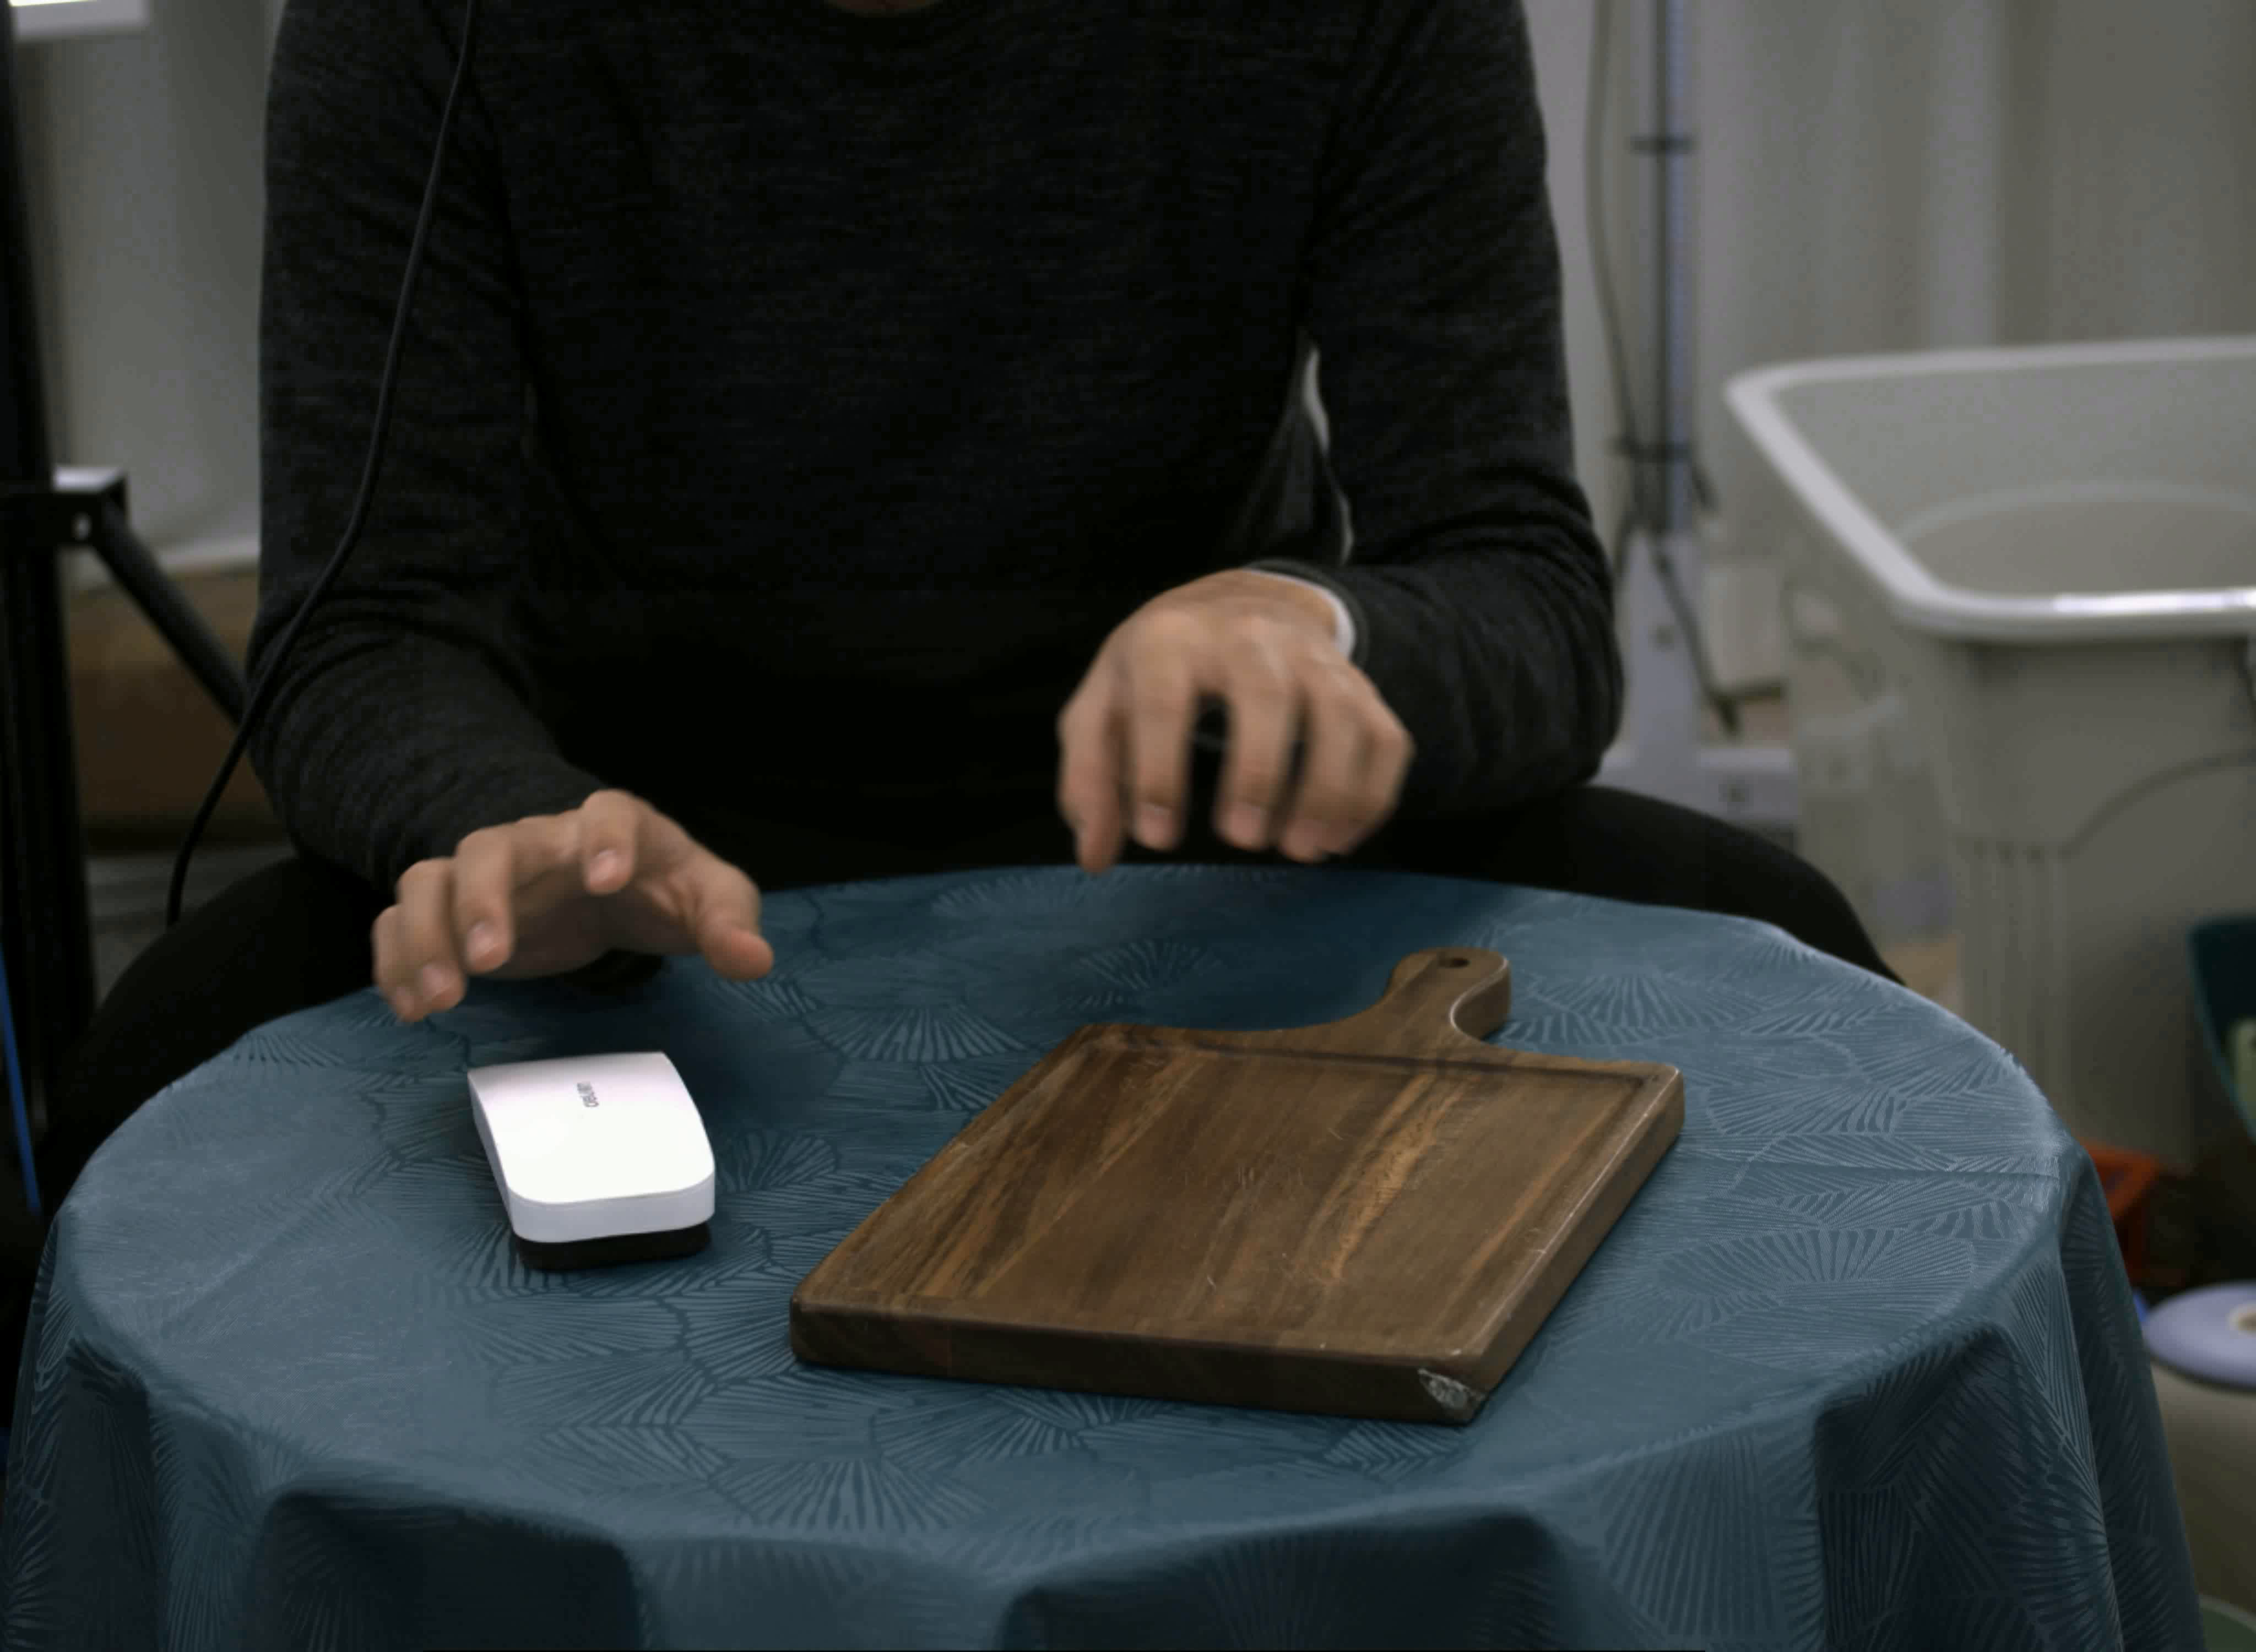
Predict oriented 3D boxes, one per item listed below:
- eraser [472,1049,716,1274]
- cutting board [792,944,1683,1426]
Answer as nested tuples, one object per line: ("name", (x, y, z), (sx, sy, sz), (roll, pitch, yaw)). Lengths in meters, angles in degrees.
("eraser", (-0.157, 0.095, 1.575), (0.062, 0.034, 0.133), (-7, 17, -10))
("cutting board", (0.053, 0.095, 1.554), (0.203, 0.023, 0.348), (3, 17, 19))
